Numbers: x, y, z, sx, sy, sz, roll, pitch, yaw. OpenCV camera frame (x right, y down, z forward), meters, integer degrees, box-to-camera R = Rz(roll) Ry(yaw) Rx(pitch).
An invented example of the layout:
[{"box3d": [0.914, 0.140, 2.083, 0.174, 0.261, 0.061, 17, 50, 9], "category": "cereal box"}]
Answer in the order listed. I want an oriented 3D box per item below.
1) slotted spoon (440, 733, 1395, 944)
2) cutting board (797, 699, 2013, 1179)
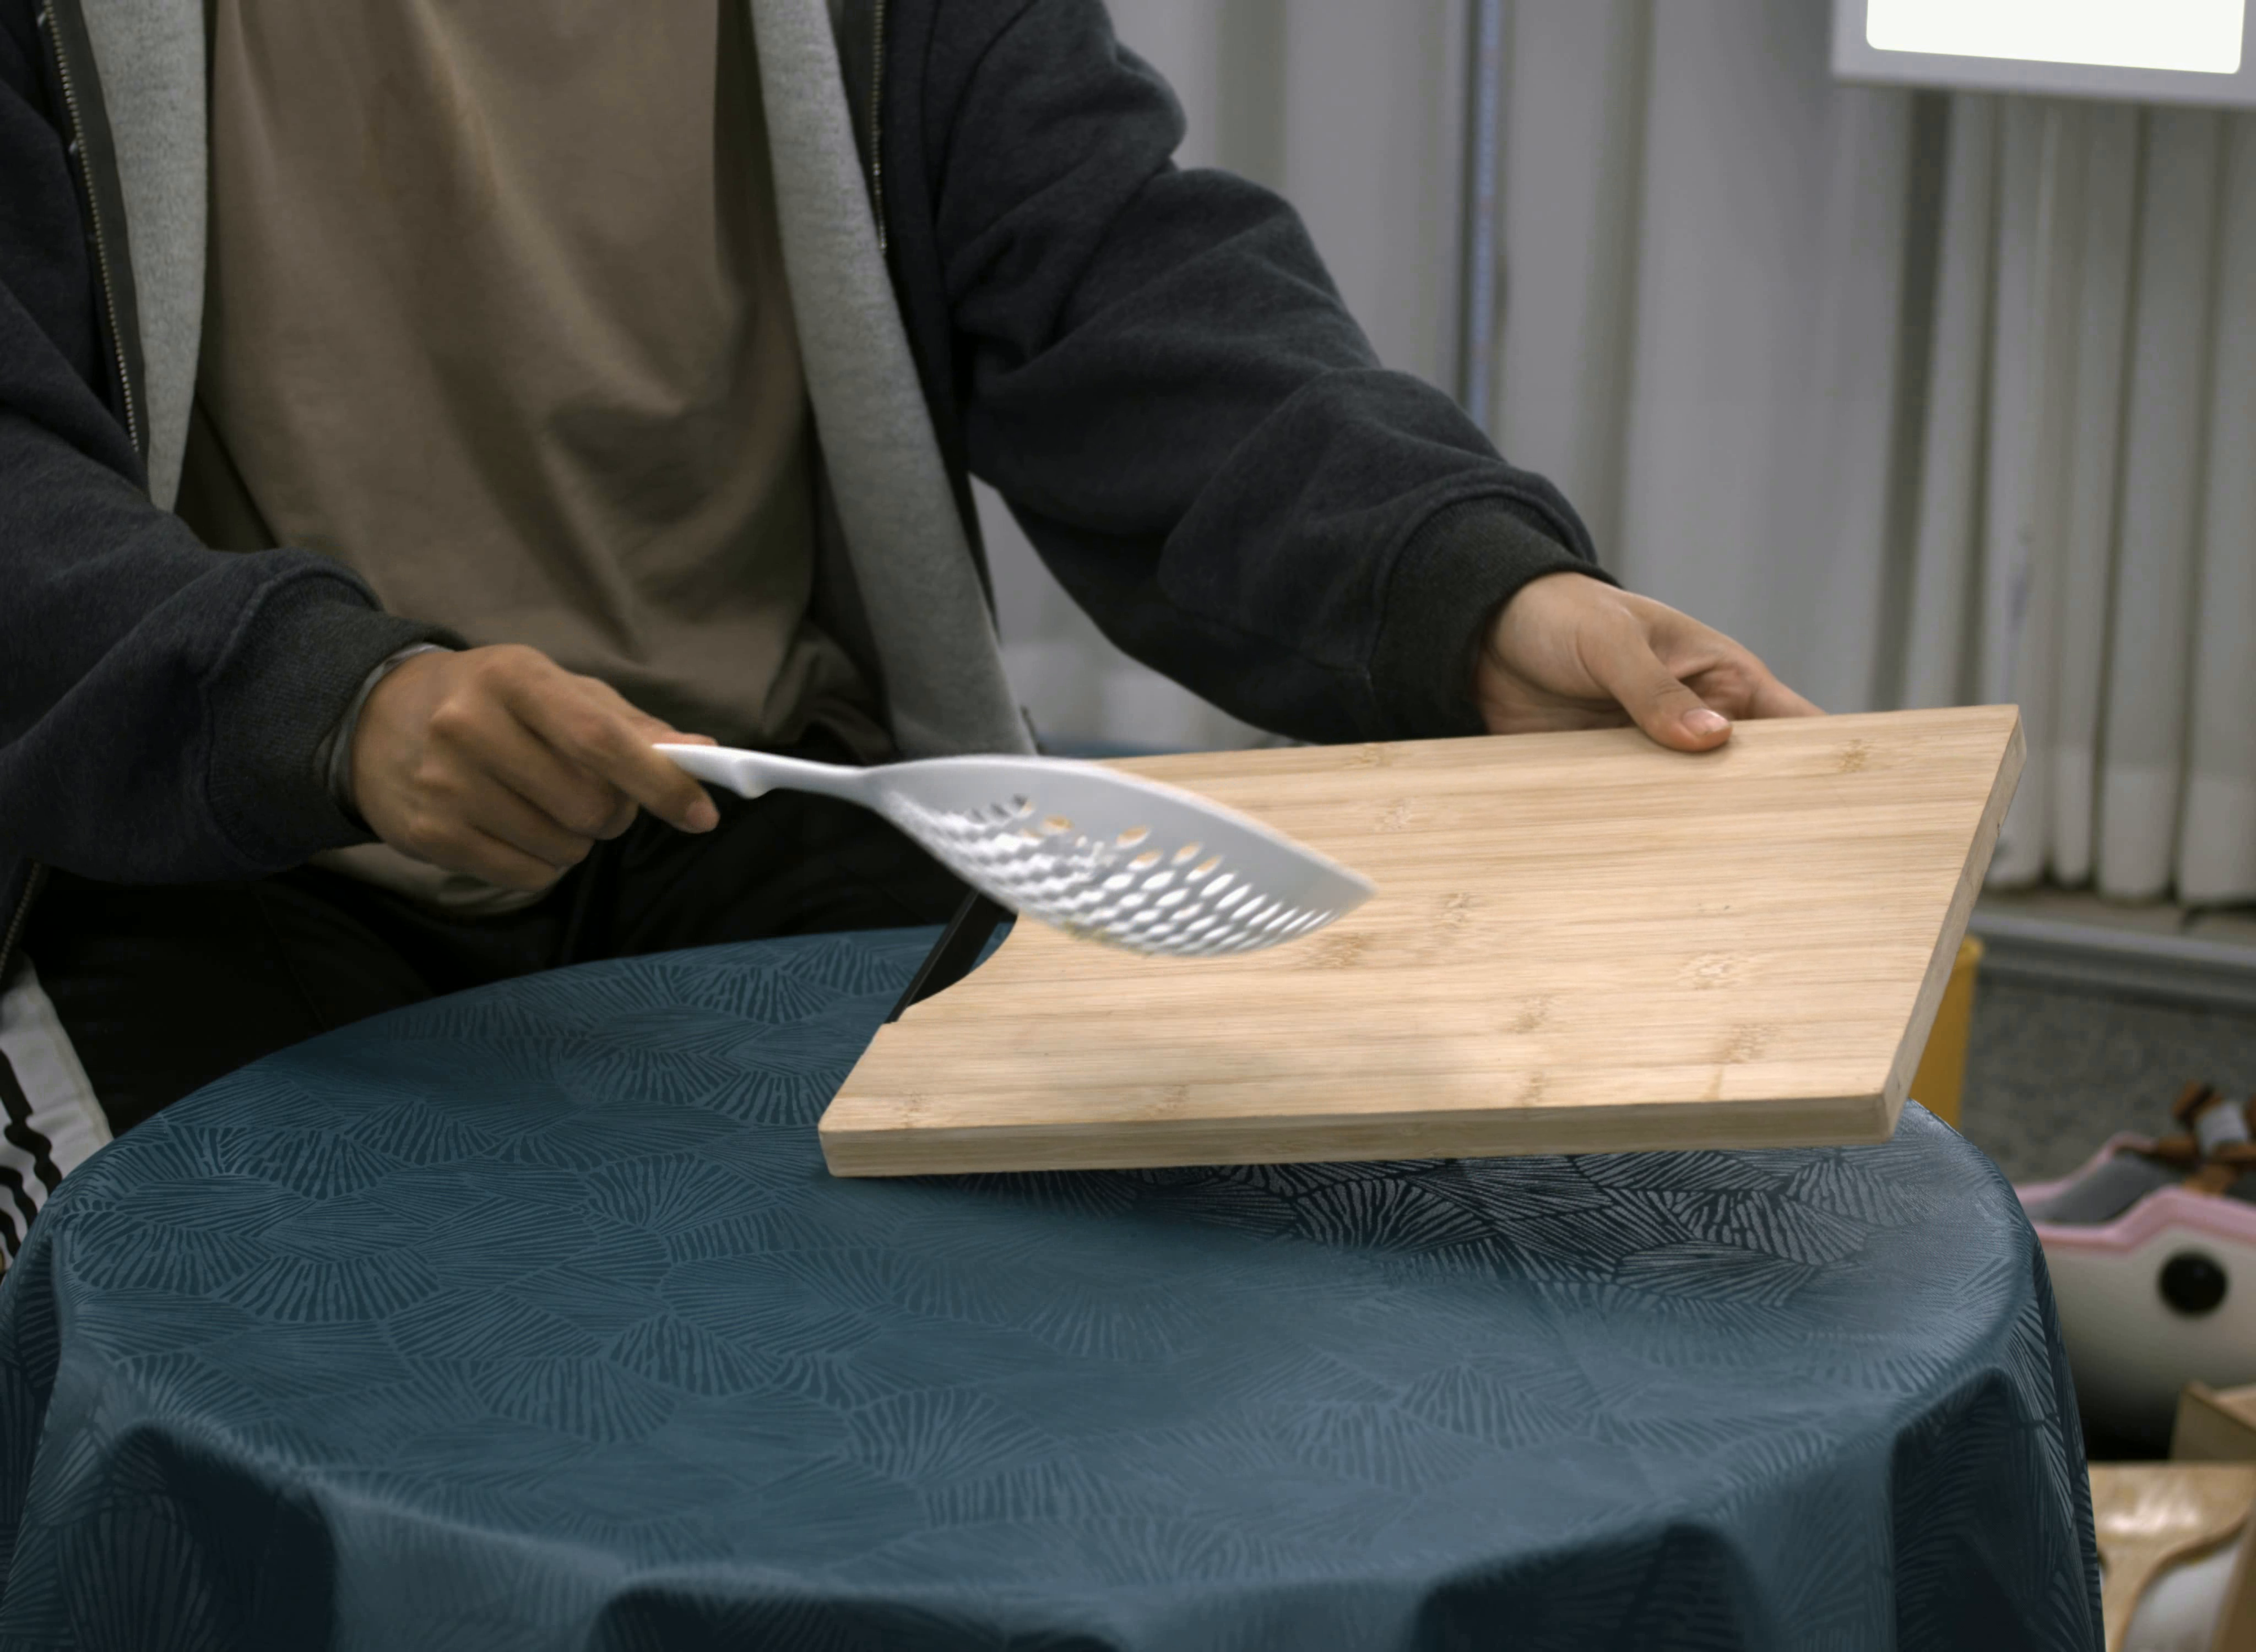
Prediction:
[{"box3d": [-0.077, -0.005, 1.613, 0.343, 0.050, 0.138, 12, -9, 38], "category": "slotted spoon"}, {"box3d": [0.092, 0.035, 1.670, 0.345, 0.024, 0.250, -4, 28, 20], "category": "cutting board"}]
